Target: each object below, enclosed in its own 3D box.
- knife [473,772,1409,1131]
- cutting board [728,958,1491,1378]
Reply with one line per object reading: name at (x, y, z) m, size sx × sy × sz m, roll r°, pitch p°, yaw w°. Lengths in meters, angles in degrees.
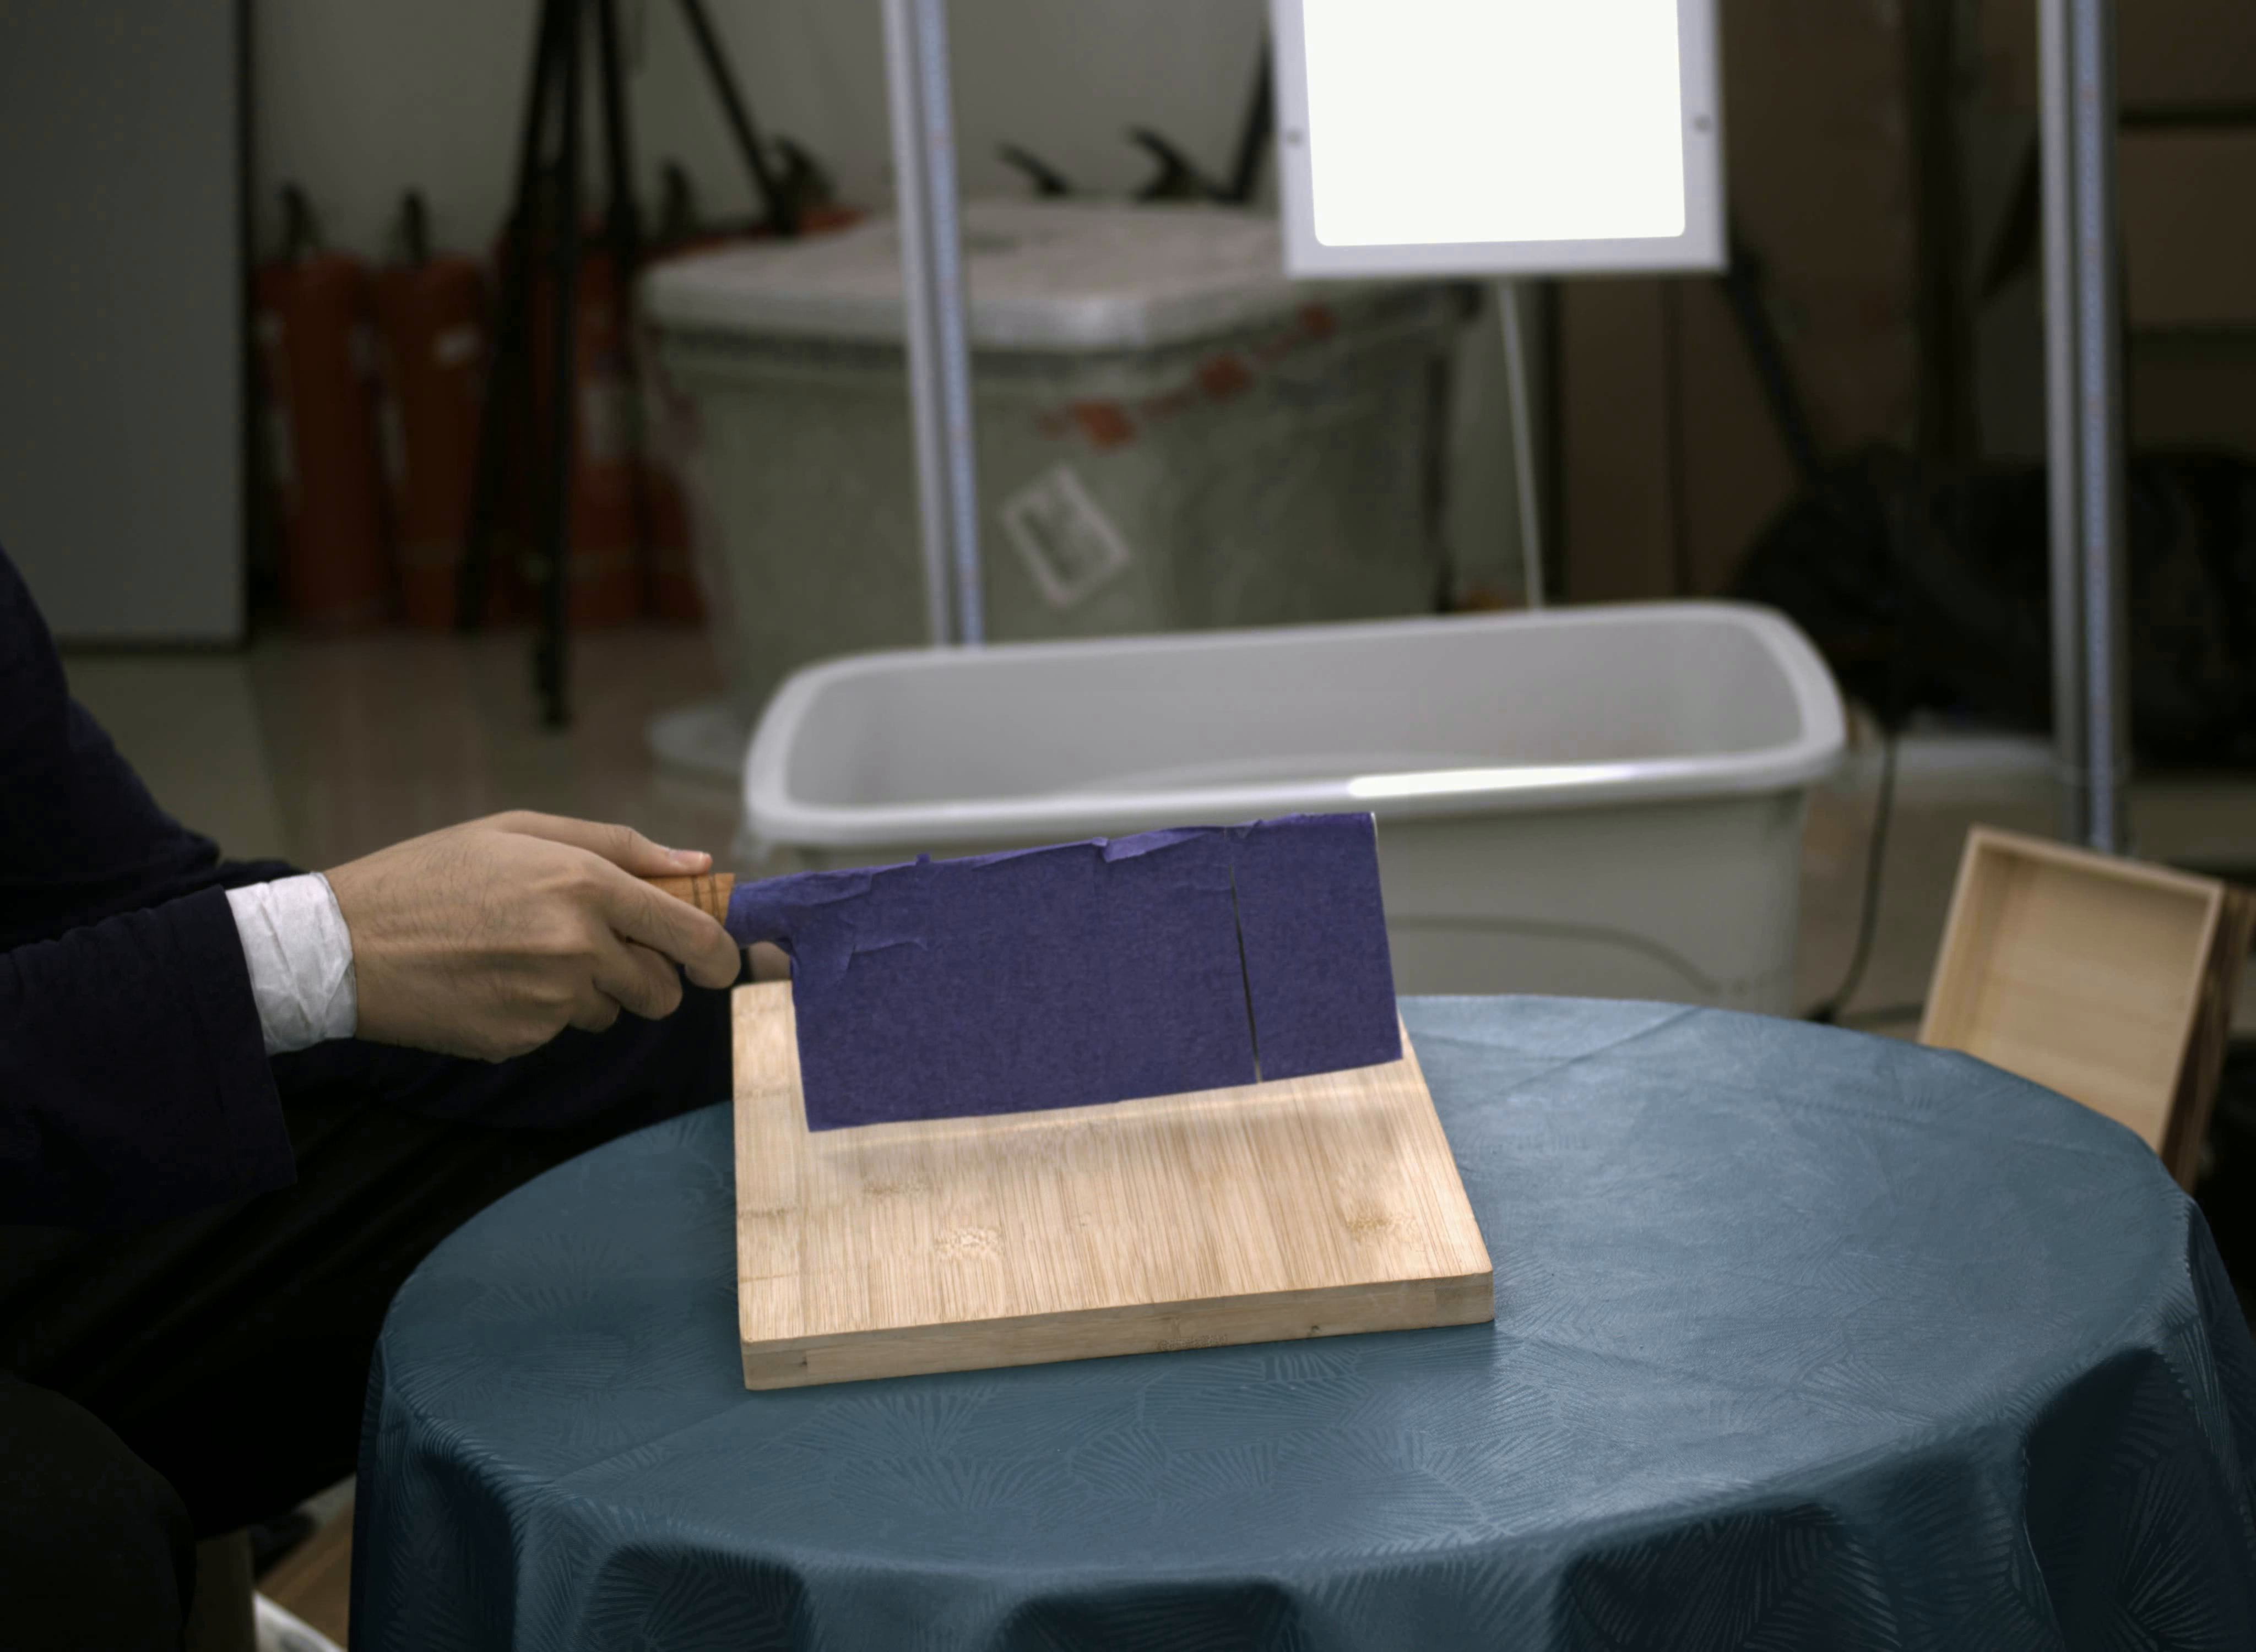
knife at (-0.061, 0.054, 1.872) m, size 0.314 × 0.104 × 0.032 m, roll -8°, pitch 6°, yaw 0°
cutting board at (-0.015, 0.107, 1.900) m, size 0.249 × 0.023 × 0.348 m, roll -6°, pitch 18°, yaw -2°
